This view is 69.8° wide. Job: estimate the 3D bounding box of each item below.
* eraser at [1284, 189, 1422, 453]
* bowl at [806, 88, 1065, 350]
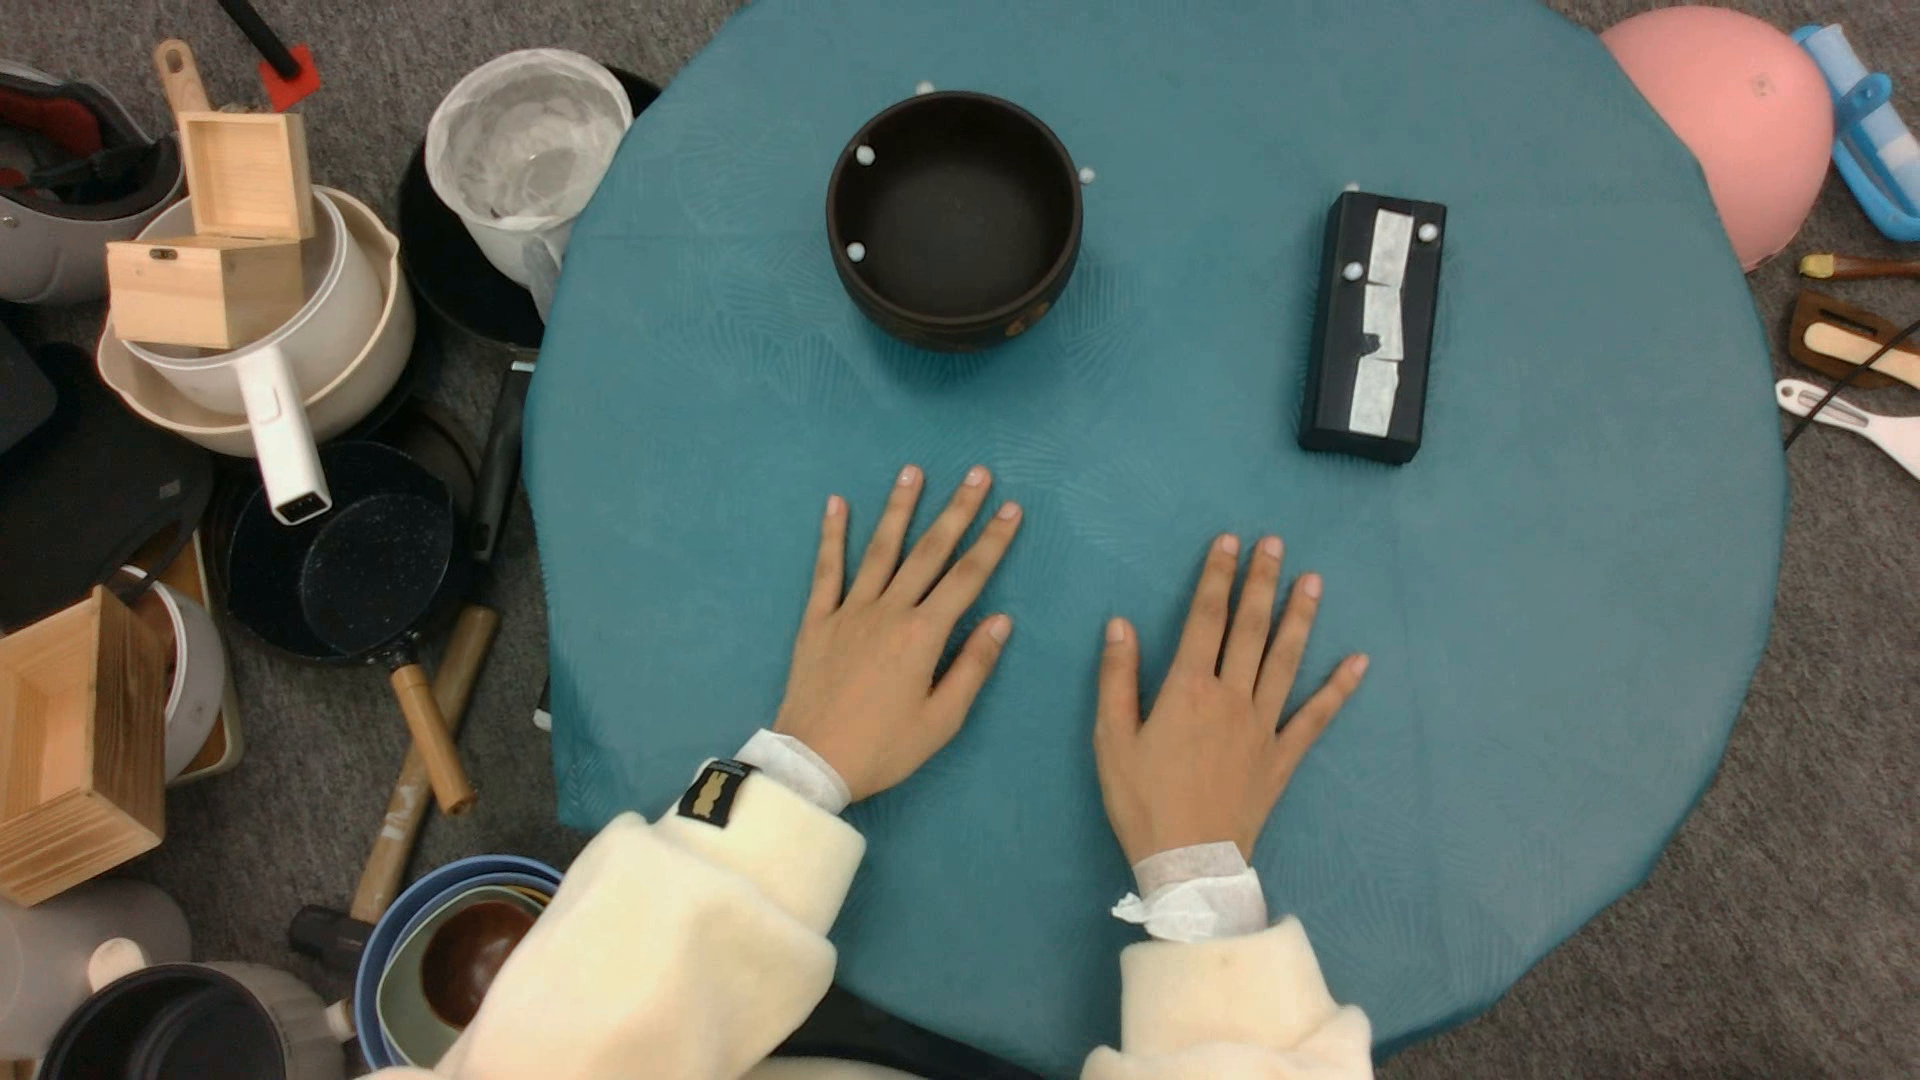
[{"bbox_3d":[0.188,-0.106,0.662,0.053,0.030,0.126,8,78,3],"label":"eraser"},{"bbox_3d":[-0.011,-0.143,0.647,0.118,0.069,0.118,0,77,0],"label":"bowl"}]
